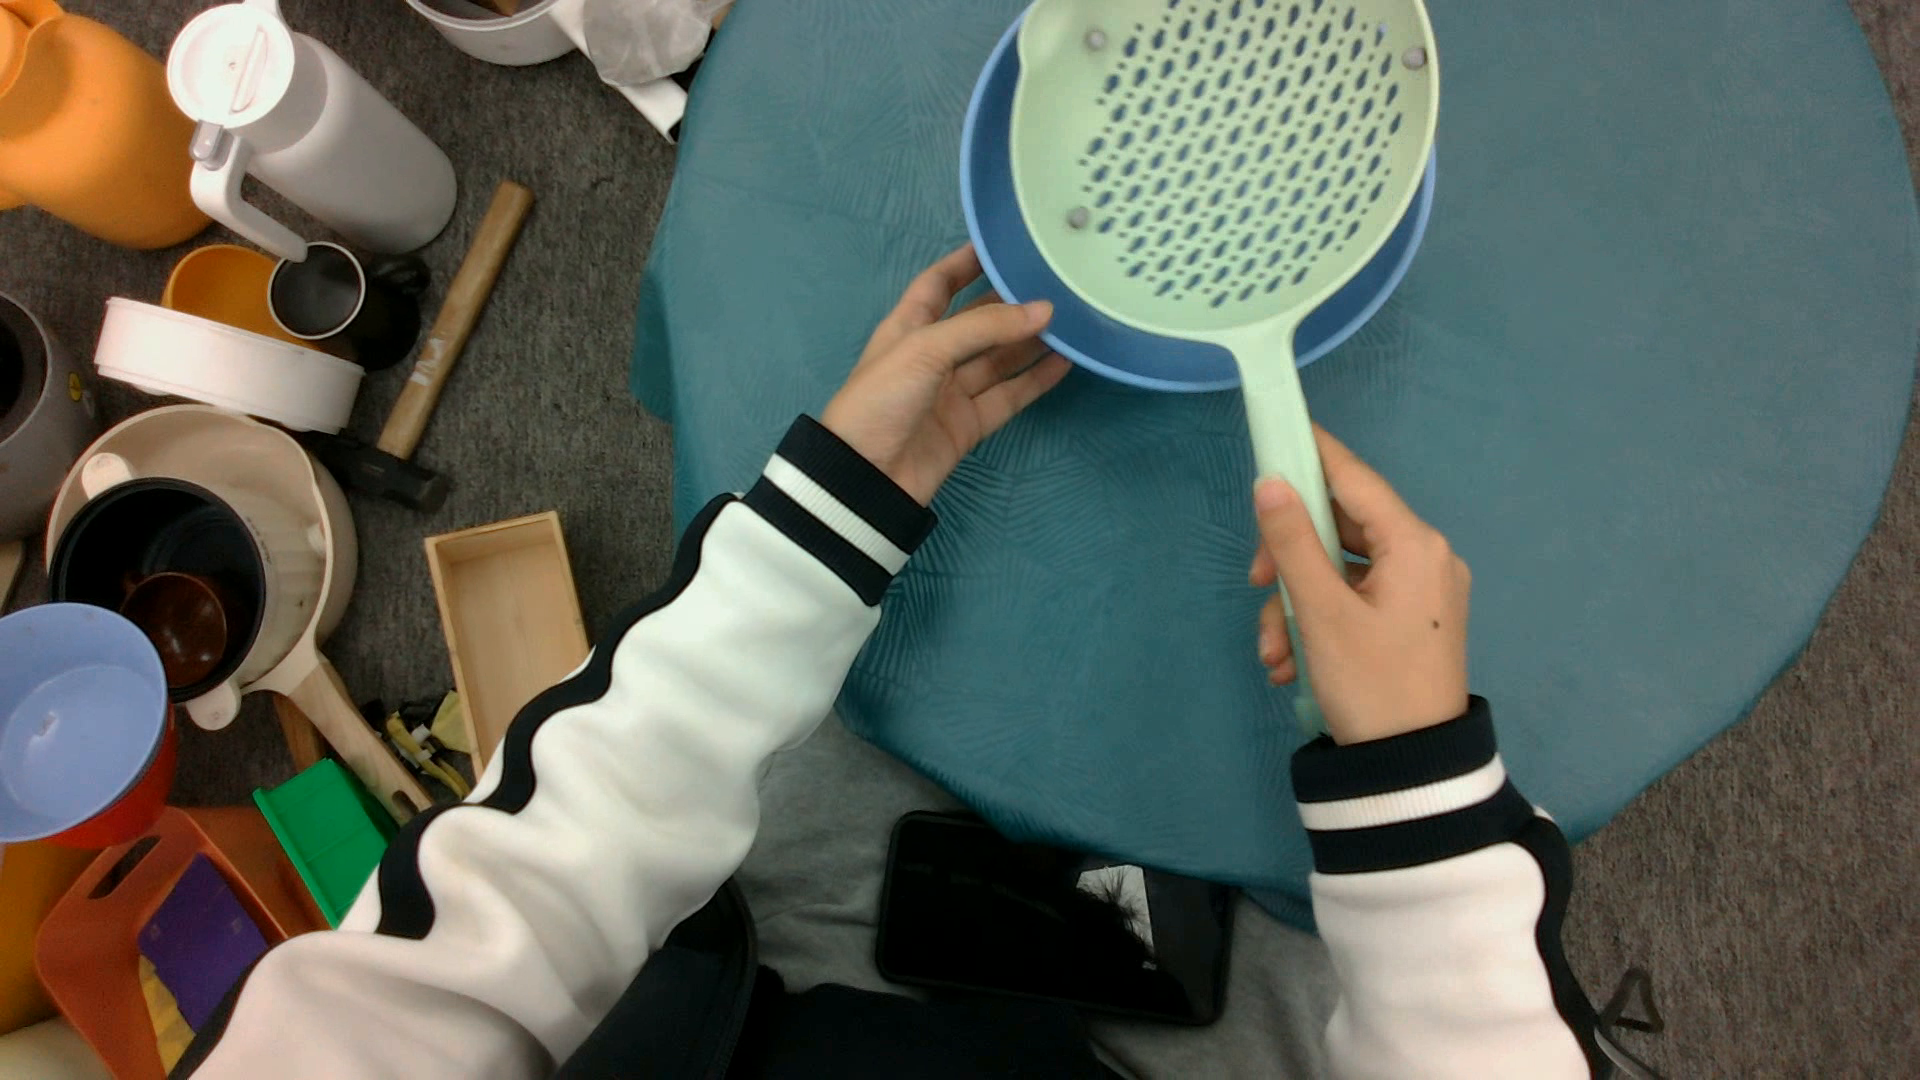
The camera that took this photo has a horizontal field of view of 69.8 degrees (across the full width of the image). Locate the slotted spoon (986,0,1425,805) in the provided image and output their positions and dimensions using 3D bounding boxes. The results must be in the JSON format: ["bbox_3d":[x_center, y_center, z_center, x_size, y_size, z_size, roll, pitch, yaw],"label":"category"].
[{"bbox_3d":[0.114,-0.075,0.539,0.169,0.075,0.359,-13,79,20],"label":"slotted spoon"}]

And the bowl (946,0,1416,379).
[{"bbox_3d":[0.094,-0.159,0.622,0.196,0.095,0.196,0,83,2],"label":"bowl"}]
